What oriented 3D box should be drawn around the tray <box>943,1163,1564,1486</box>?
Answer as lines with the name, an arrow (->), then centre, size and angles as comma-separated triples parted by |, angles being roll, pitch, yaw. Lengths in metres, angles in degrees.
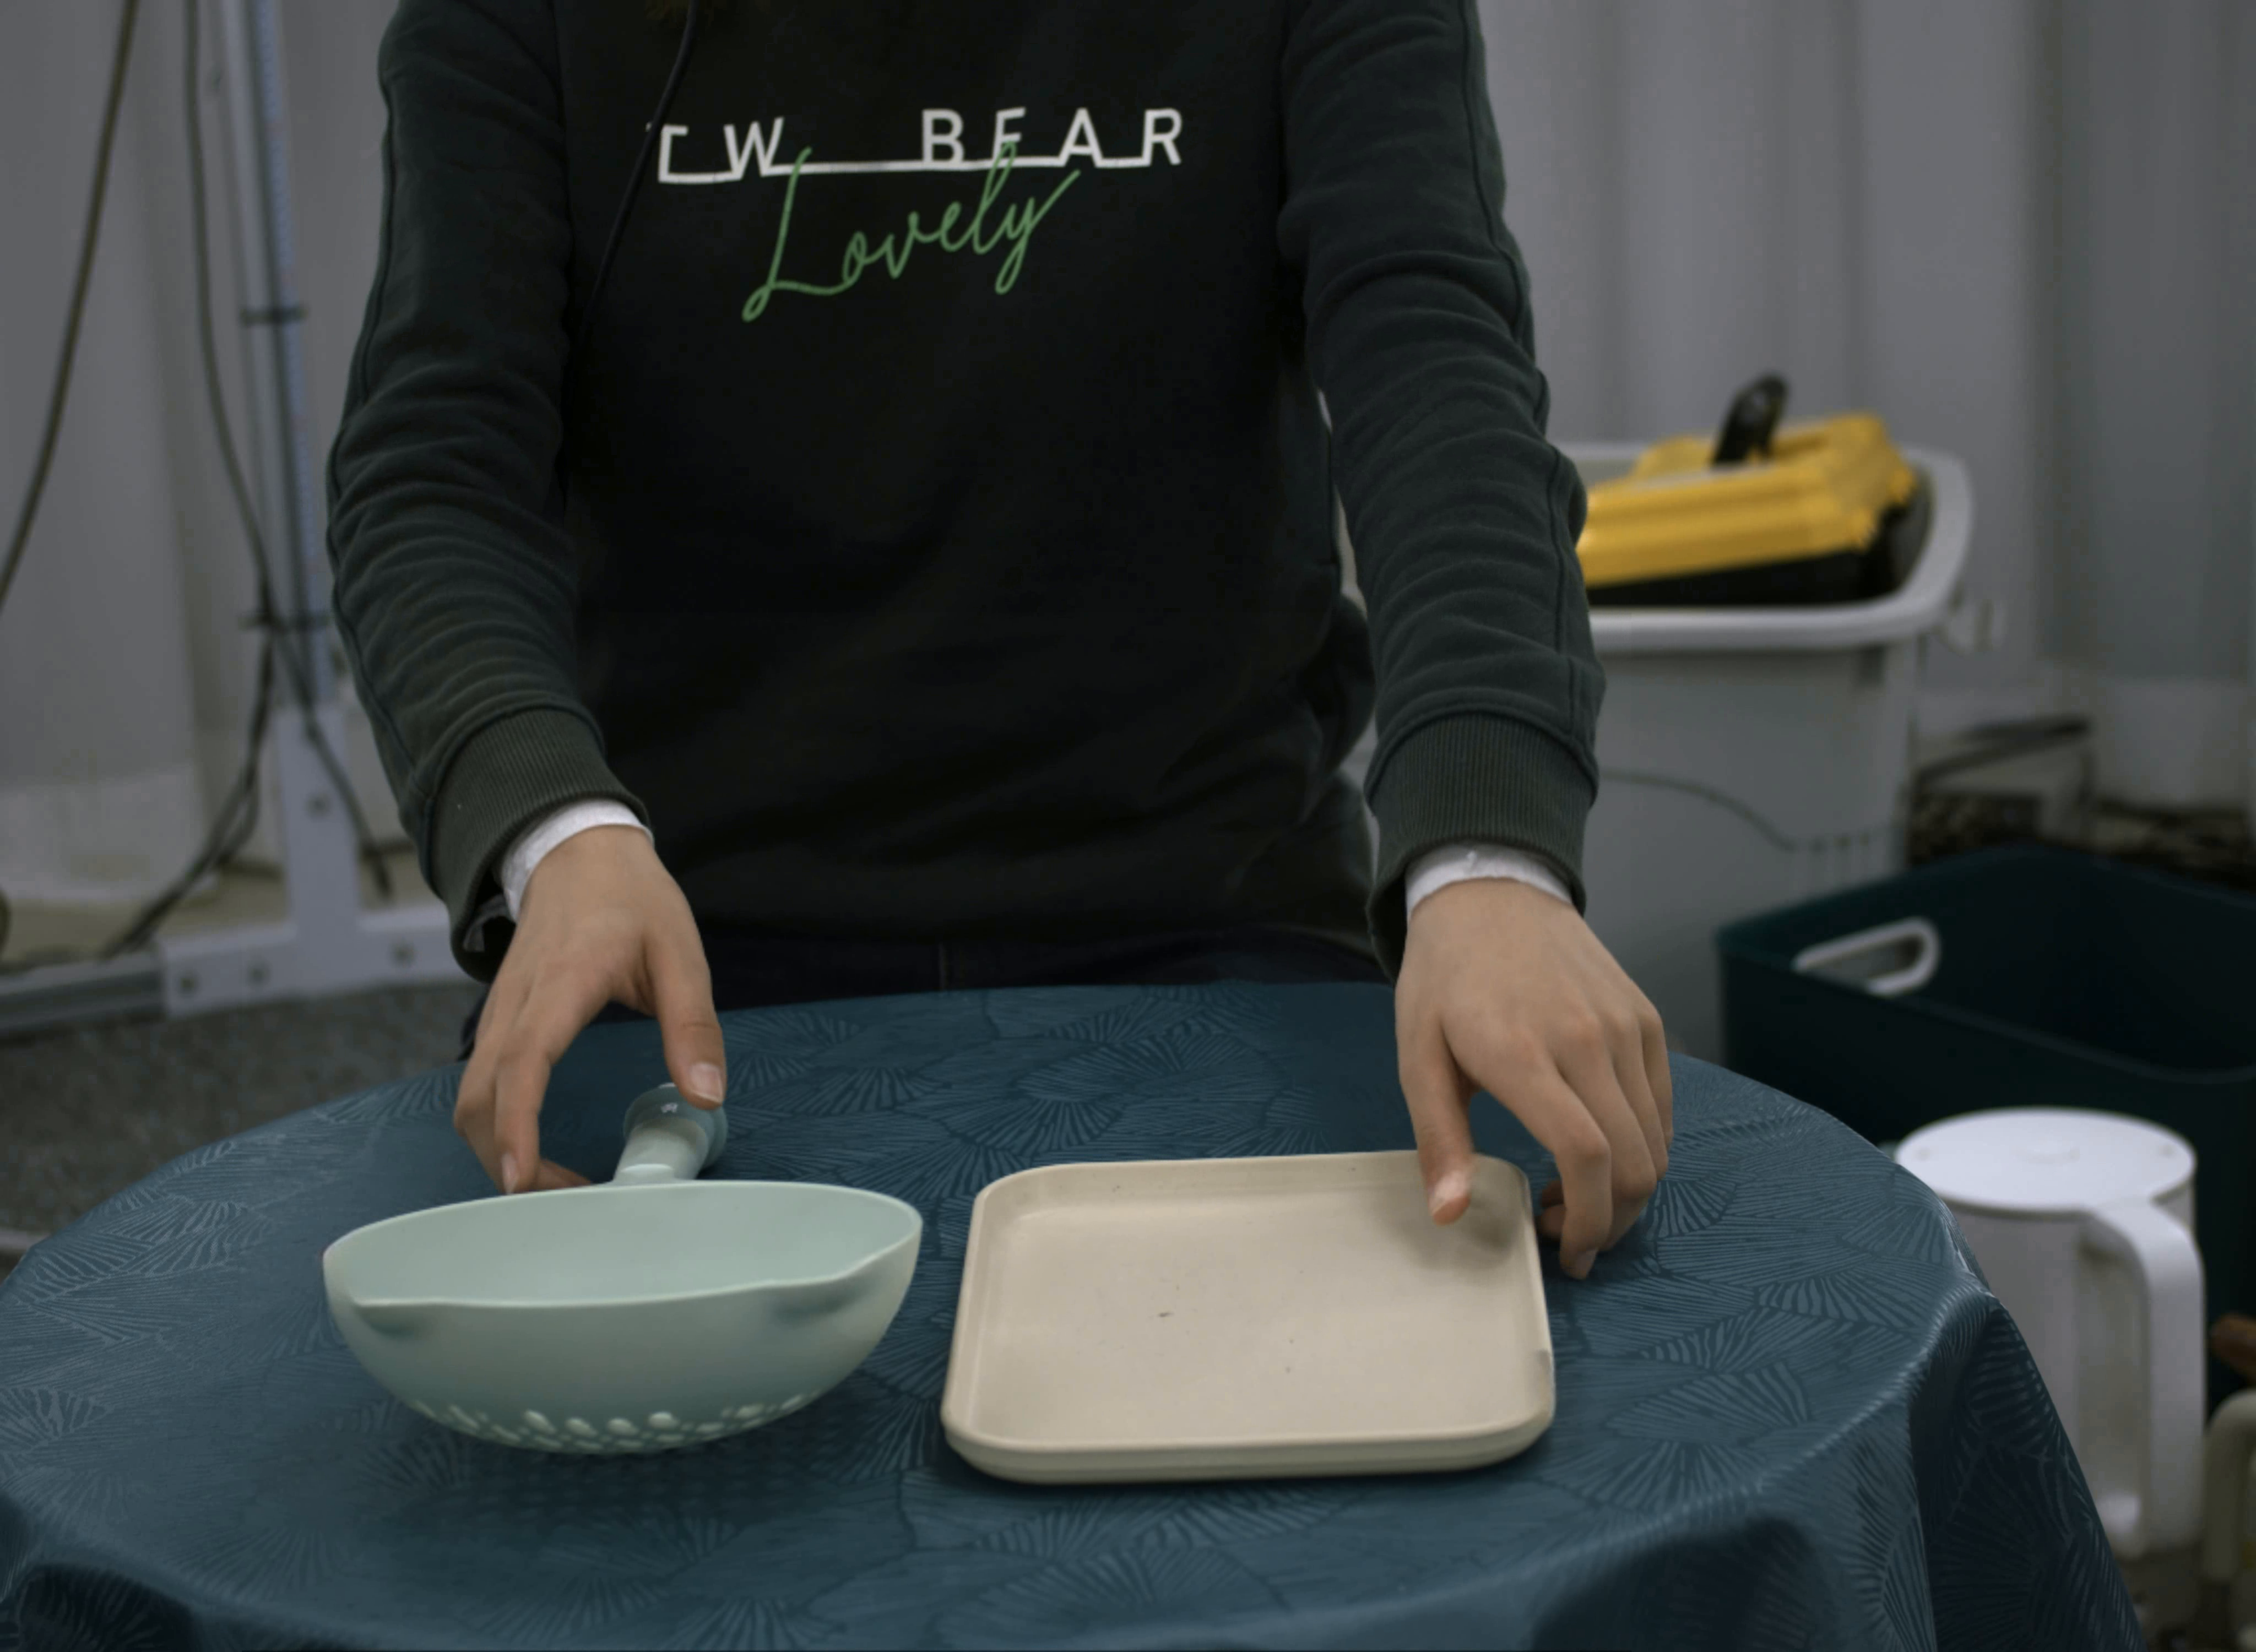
tray -> 0.035, 0.142, 1.574 | 0.171, 0.017, 0.241 | -2, 14, 2

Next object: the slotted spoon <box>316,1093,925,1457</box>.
slotted spoon -> -0.141, 0.116, 1.615 | 0.169, 0.075, 0.361 | -2, 14, 0
